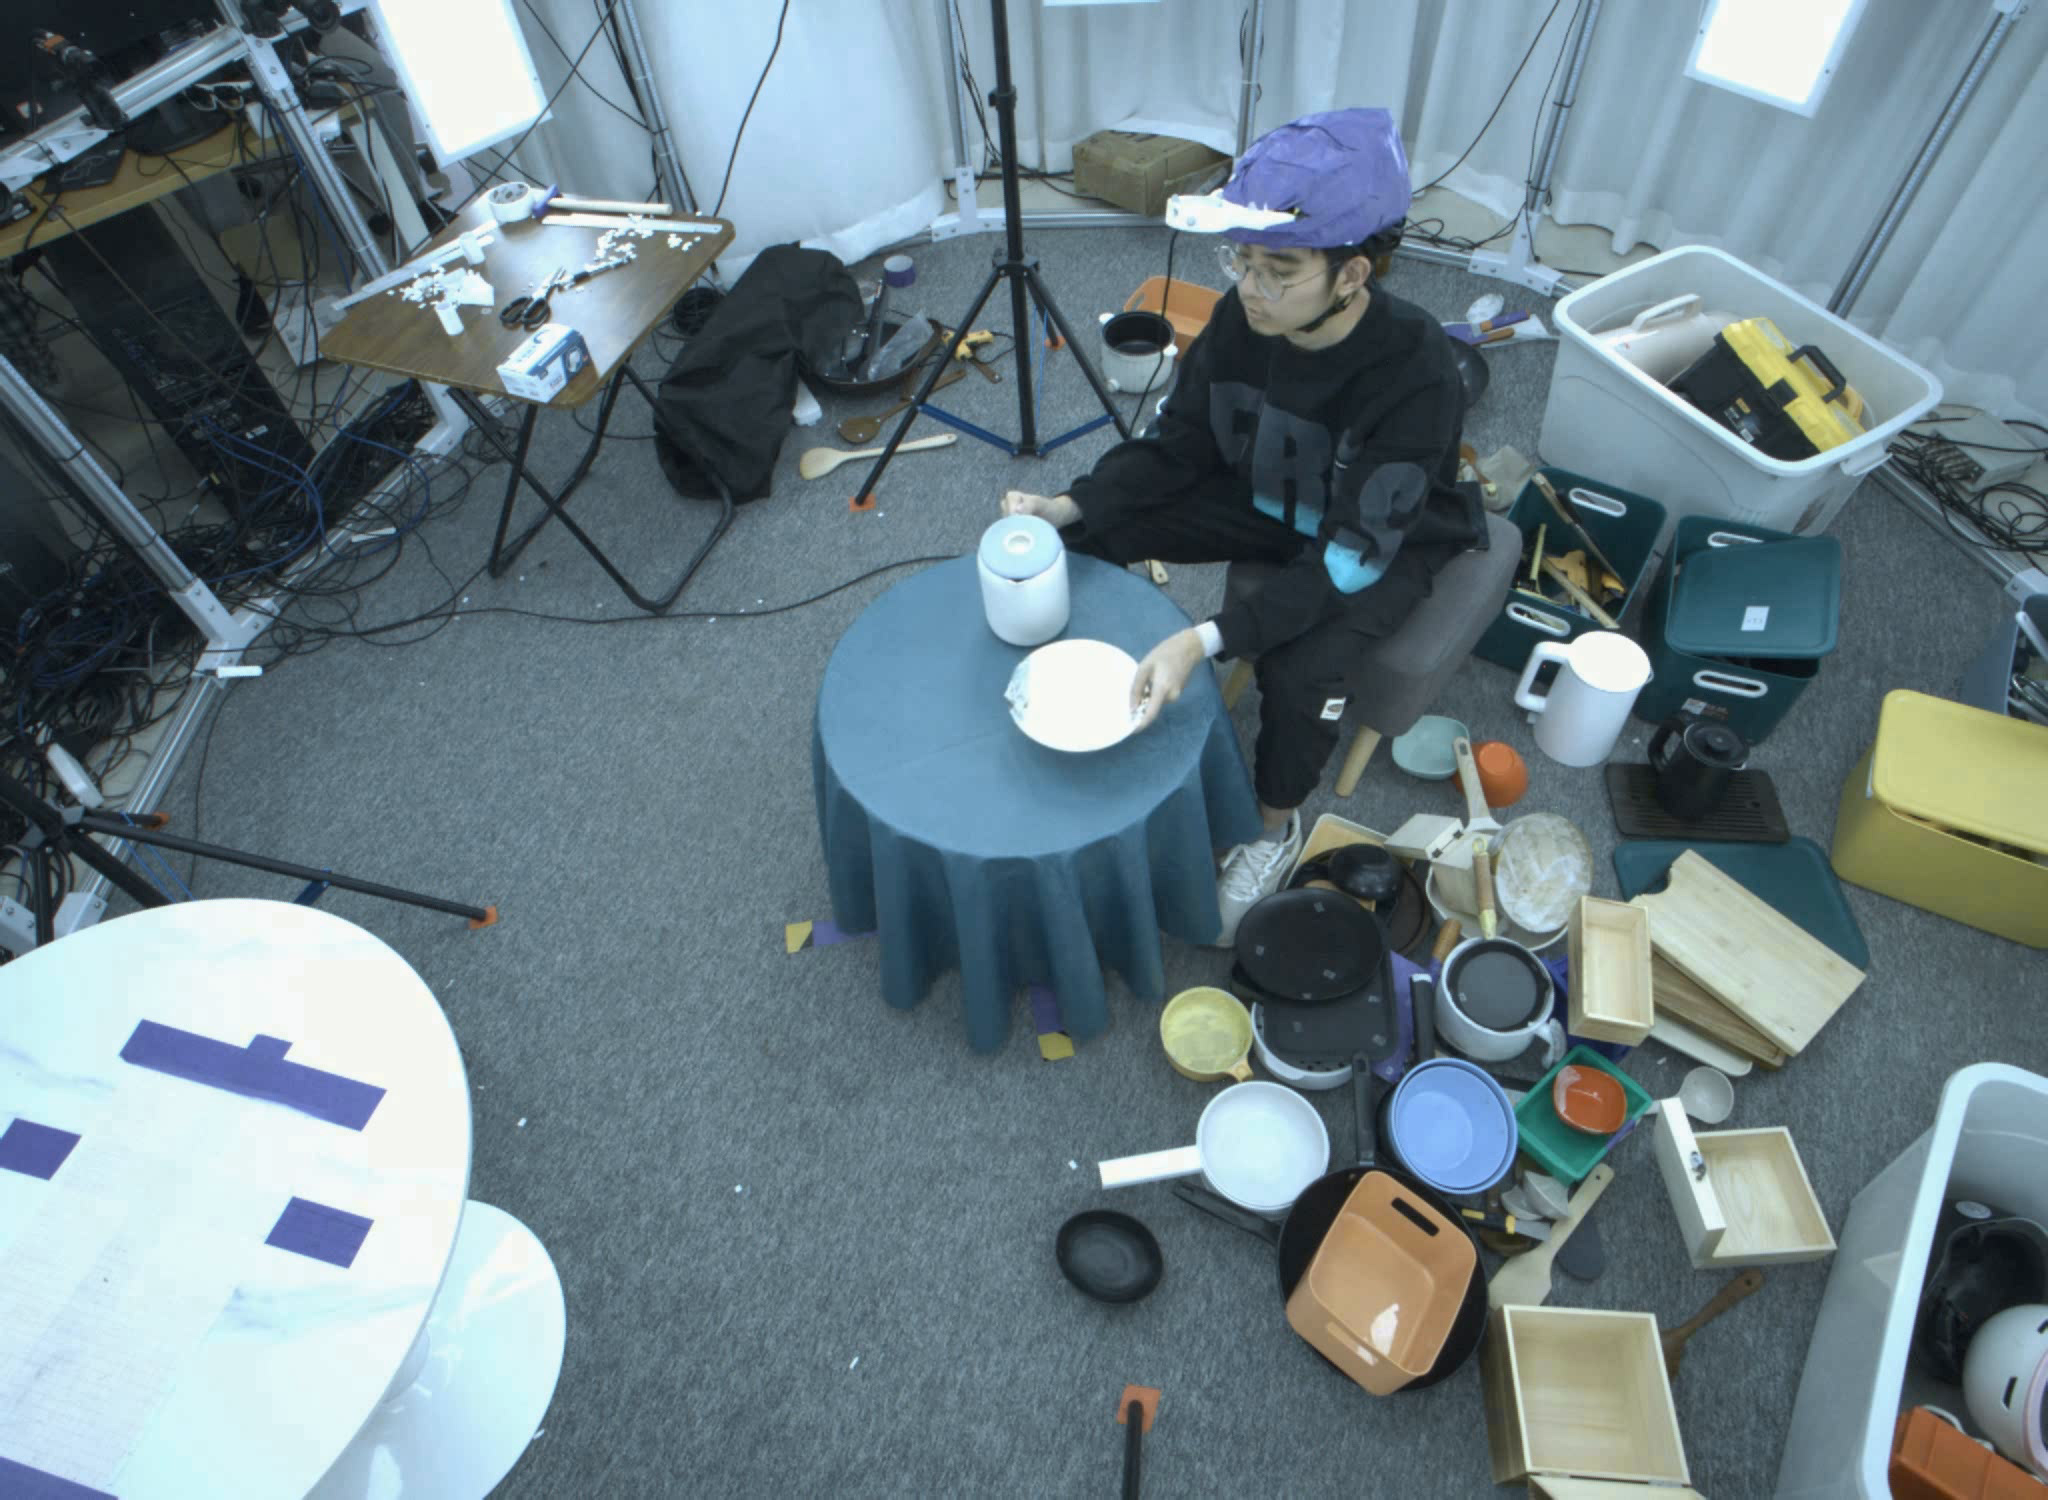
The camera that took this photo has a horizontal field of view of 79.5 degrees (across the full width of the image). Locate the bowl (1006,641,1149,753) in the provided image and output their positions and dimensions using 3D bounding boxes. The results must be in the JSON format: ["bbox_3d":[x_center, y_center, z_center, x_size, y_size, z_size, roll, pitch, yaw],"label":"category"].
[{"bbox_3d":[0.076,-0.057,1.776,0.204,0.078,0.202,2,54,-2],"label":"bowl"}]

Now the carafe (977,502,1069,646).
[{"bbox_3d":[-0.001,-0.276,1.857,0.132,0.184,0.189,-2,58,3],"label":"carafe"}]
